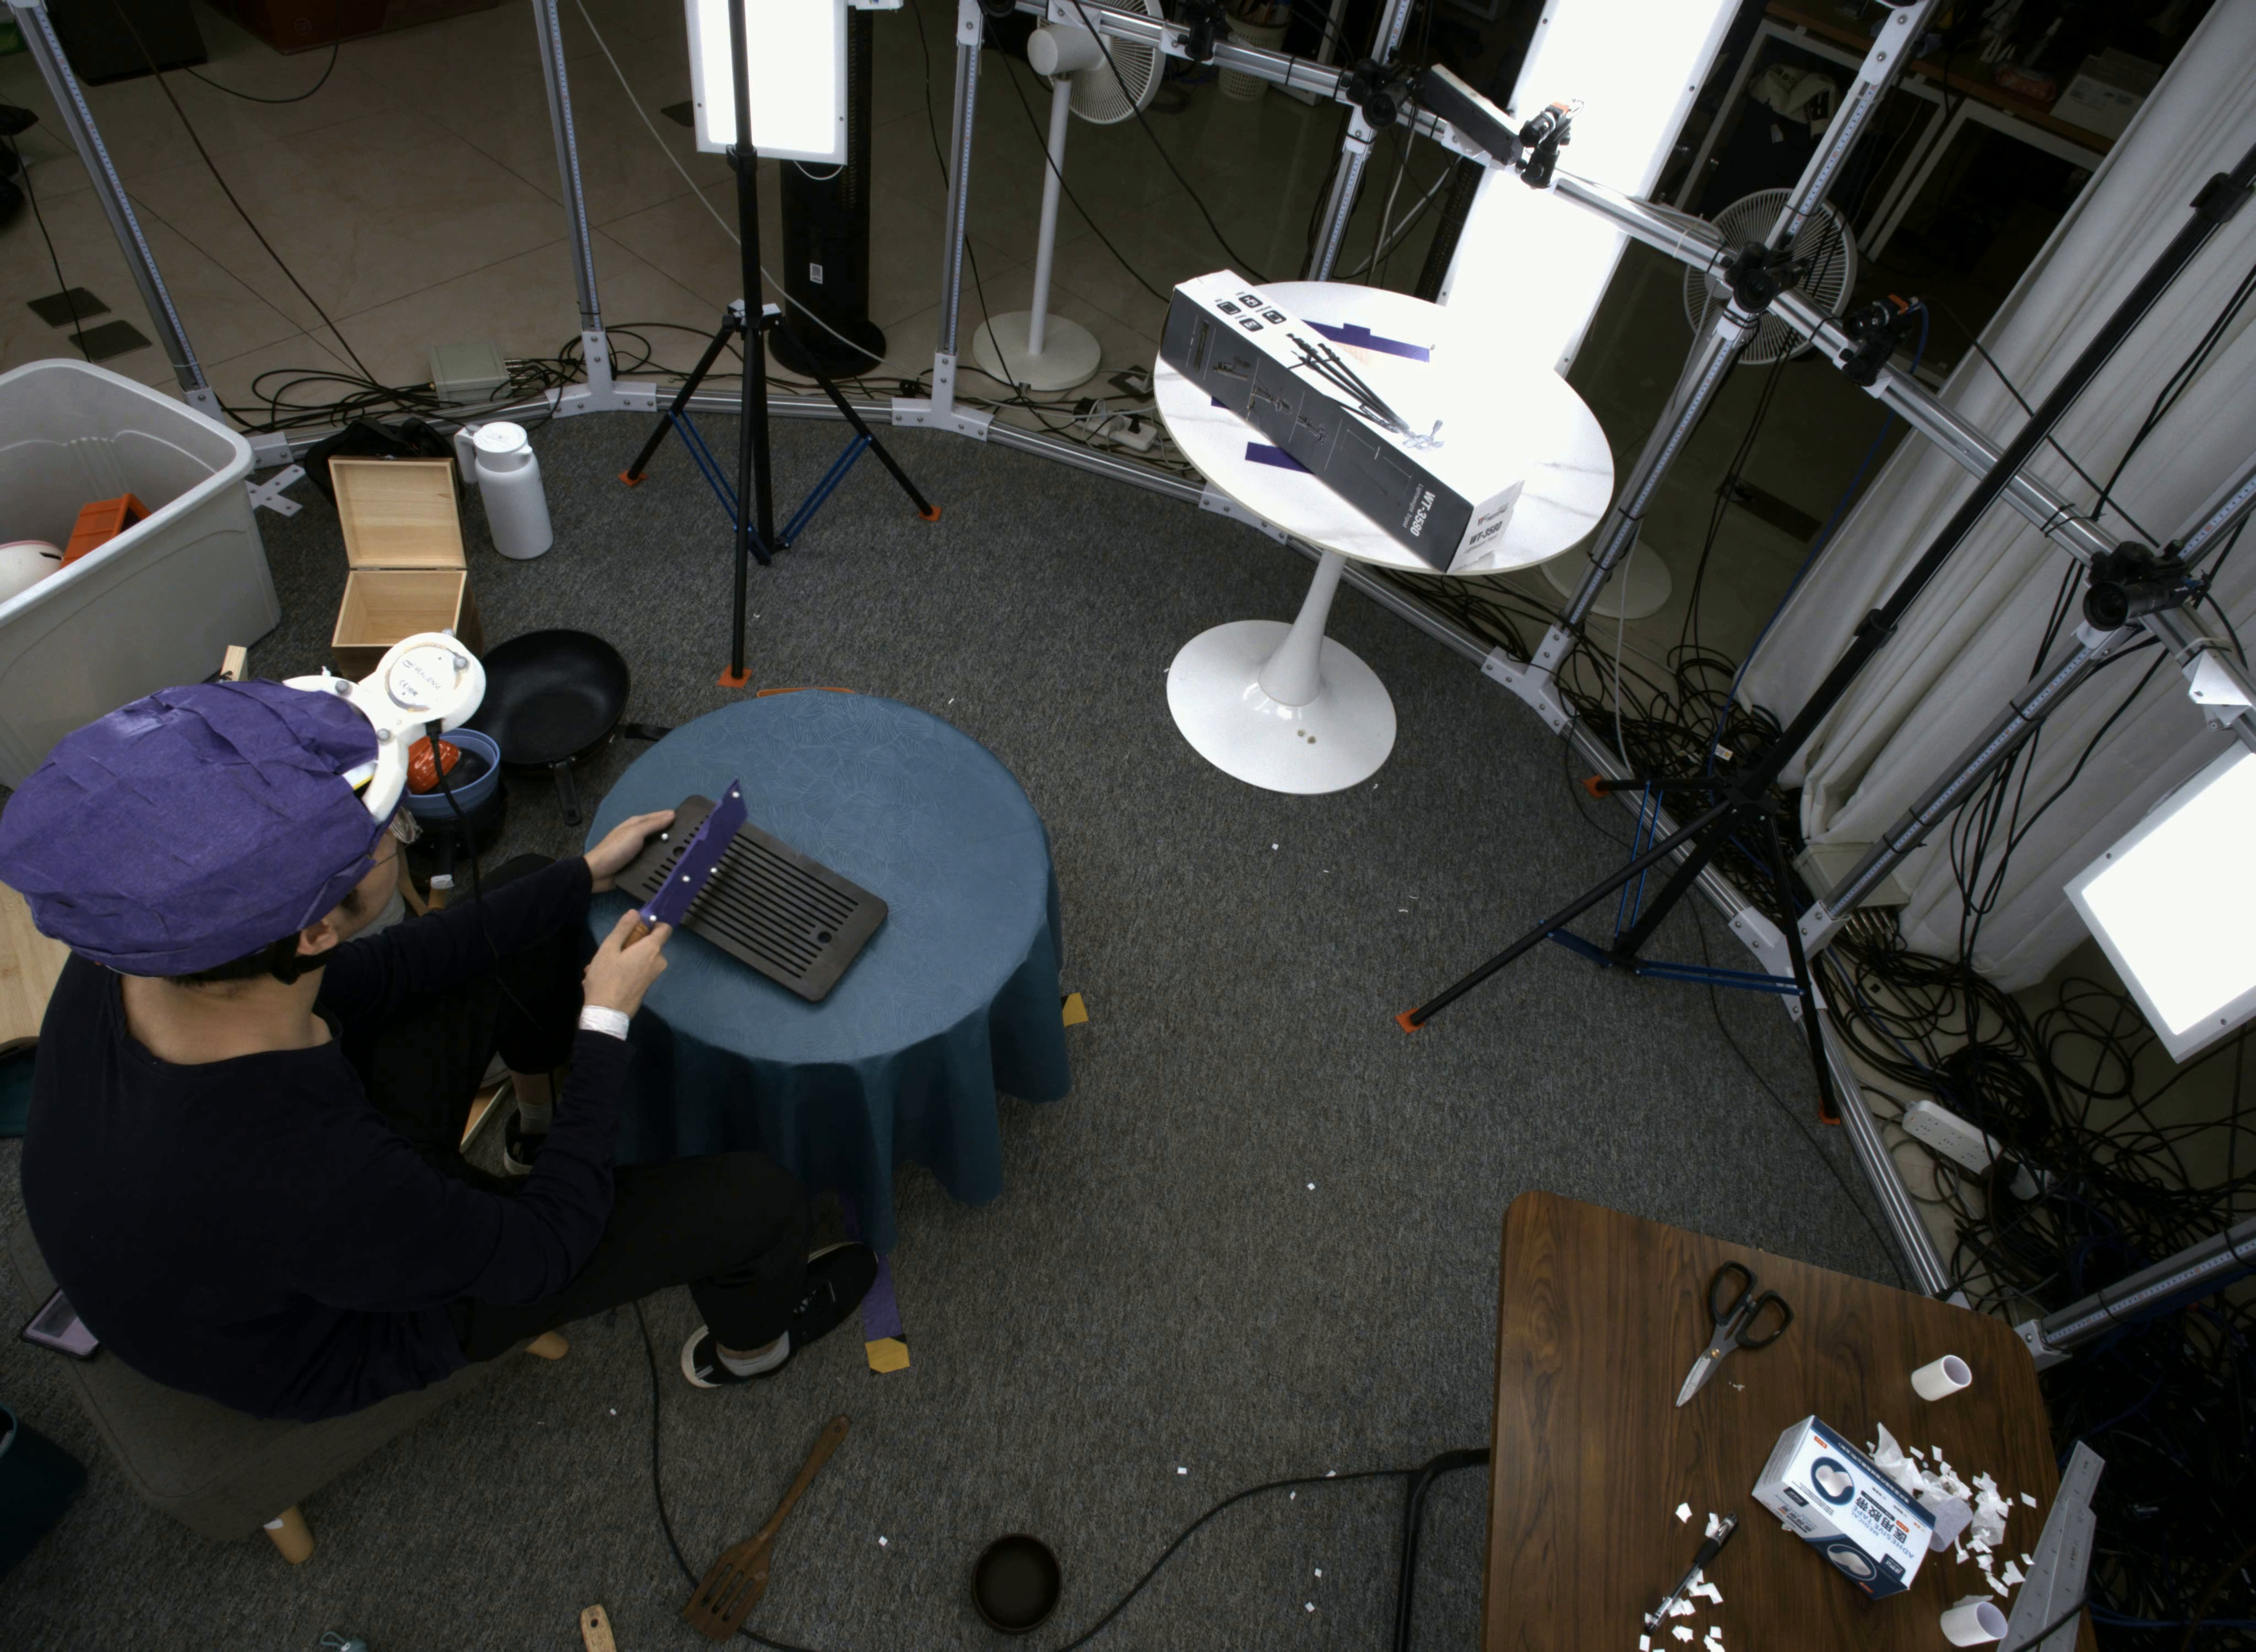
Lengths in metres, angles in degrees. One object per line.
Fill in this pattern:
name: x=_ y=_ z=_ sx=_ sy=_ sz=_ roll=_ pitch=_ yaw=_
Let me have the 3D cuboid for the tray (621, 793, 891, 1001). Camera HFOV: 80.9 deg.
tray: x=-0.468 y=0.085 z=1.631 sx=0.304 sy=0.019 sz=0.169 roll=30 pitch=53 yaw=1

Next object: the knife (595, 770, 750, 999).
knife: x=-0.530 y=0.079 z=1.524 sx=0.031 sy=0.106 sz=0.313 roll=20 pitch=58 yaw=9
